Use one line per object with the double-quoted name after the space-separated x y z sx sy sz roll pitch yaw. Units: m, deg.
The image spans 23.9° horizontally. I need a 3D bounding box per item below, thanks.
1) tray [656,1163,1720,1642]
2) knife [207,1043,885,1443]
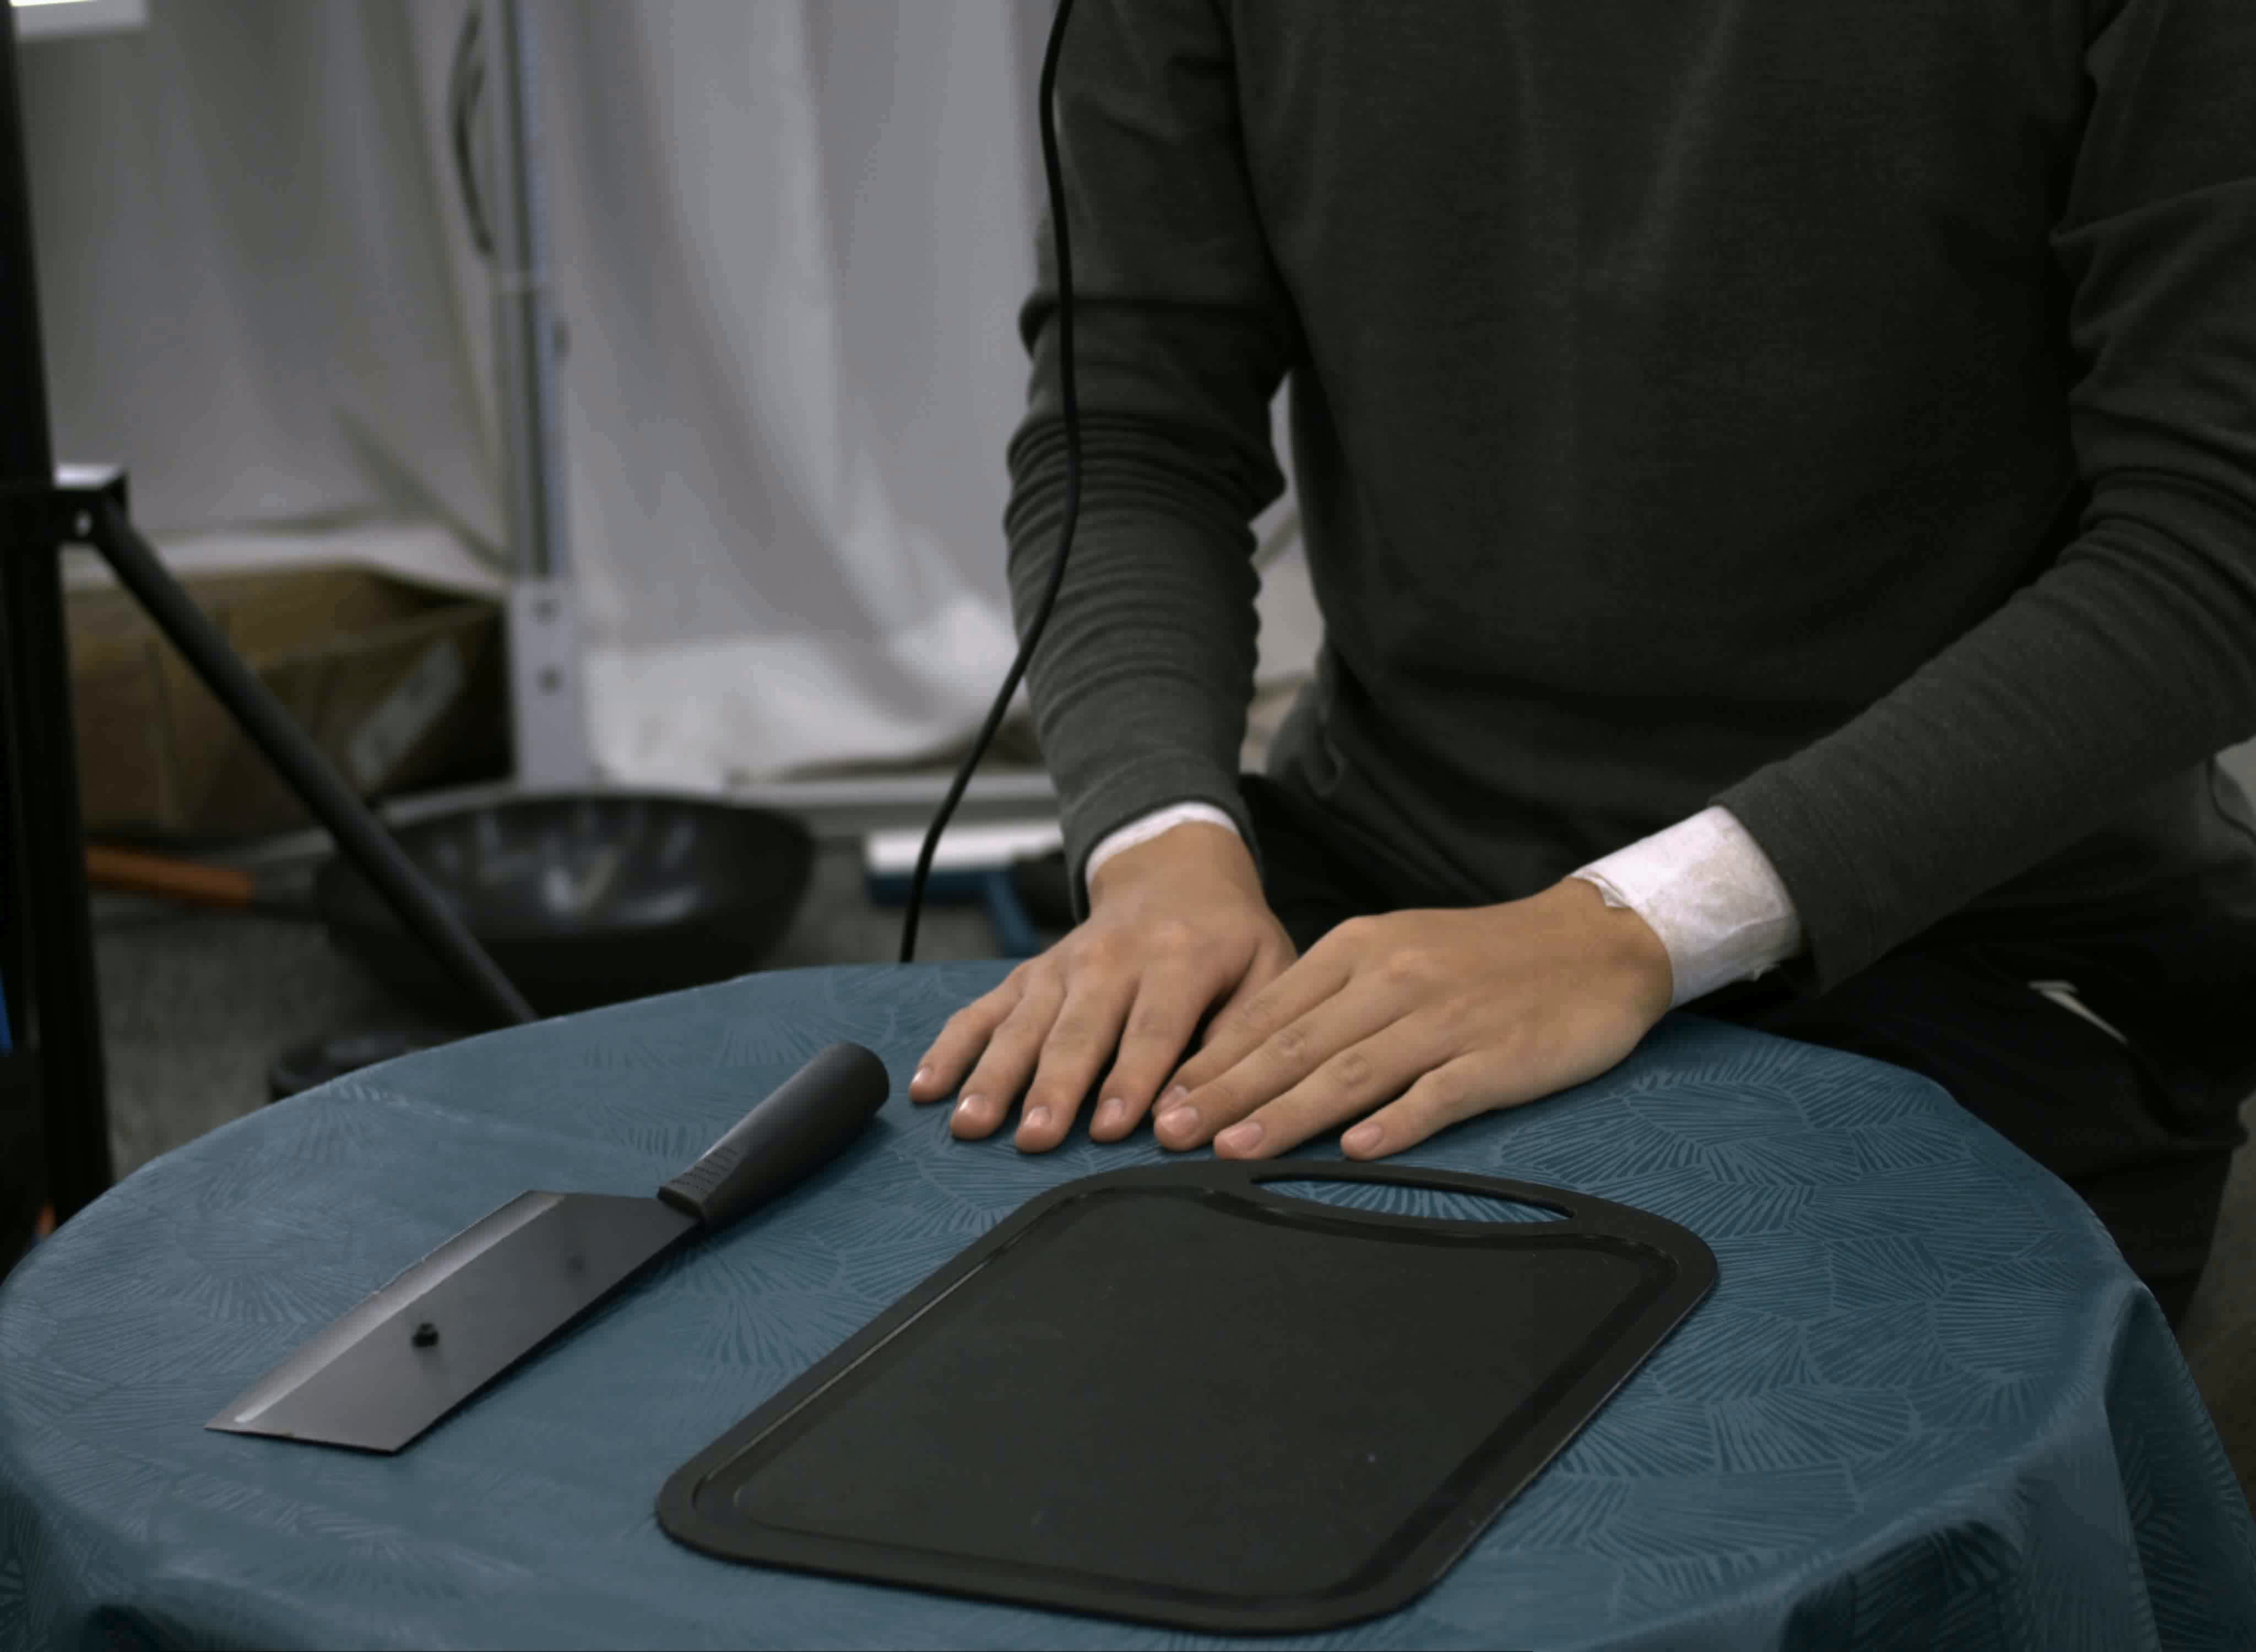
0.026 0.143 1.421 0.214 0.010 0.320 5 17 25 "tray"
-0.155 0.118 1.528 0.082 0.021 0.297 5 19 29 "knife"
